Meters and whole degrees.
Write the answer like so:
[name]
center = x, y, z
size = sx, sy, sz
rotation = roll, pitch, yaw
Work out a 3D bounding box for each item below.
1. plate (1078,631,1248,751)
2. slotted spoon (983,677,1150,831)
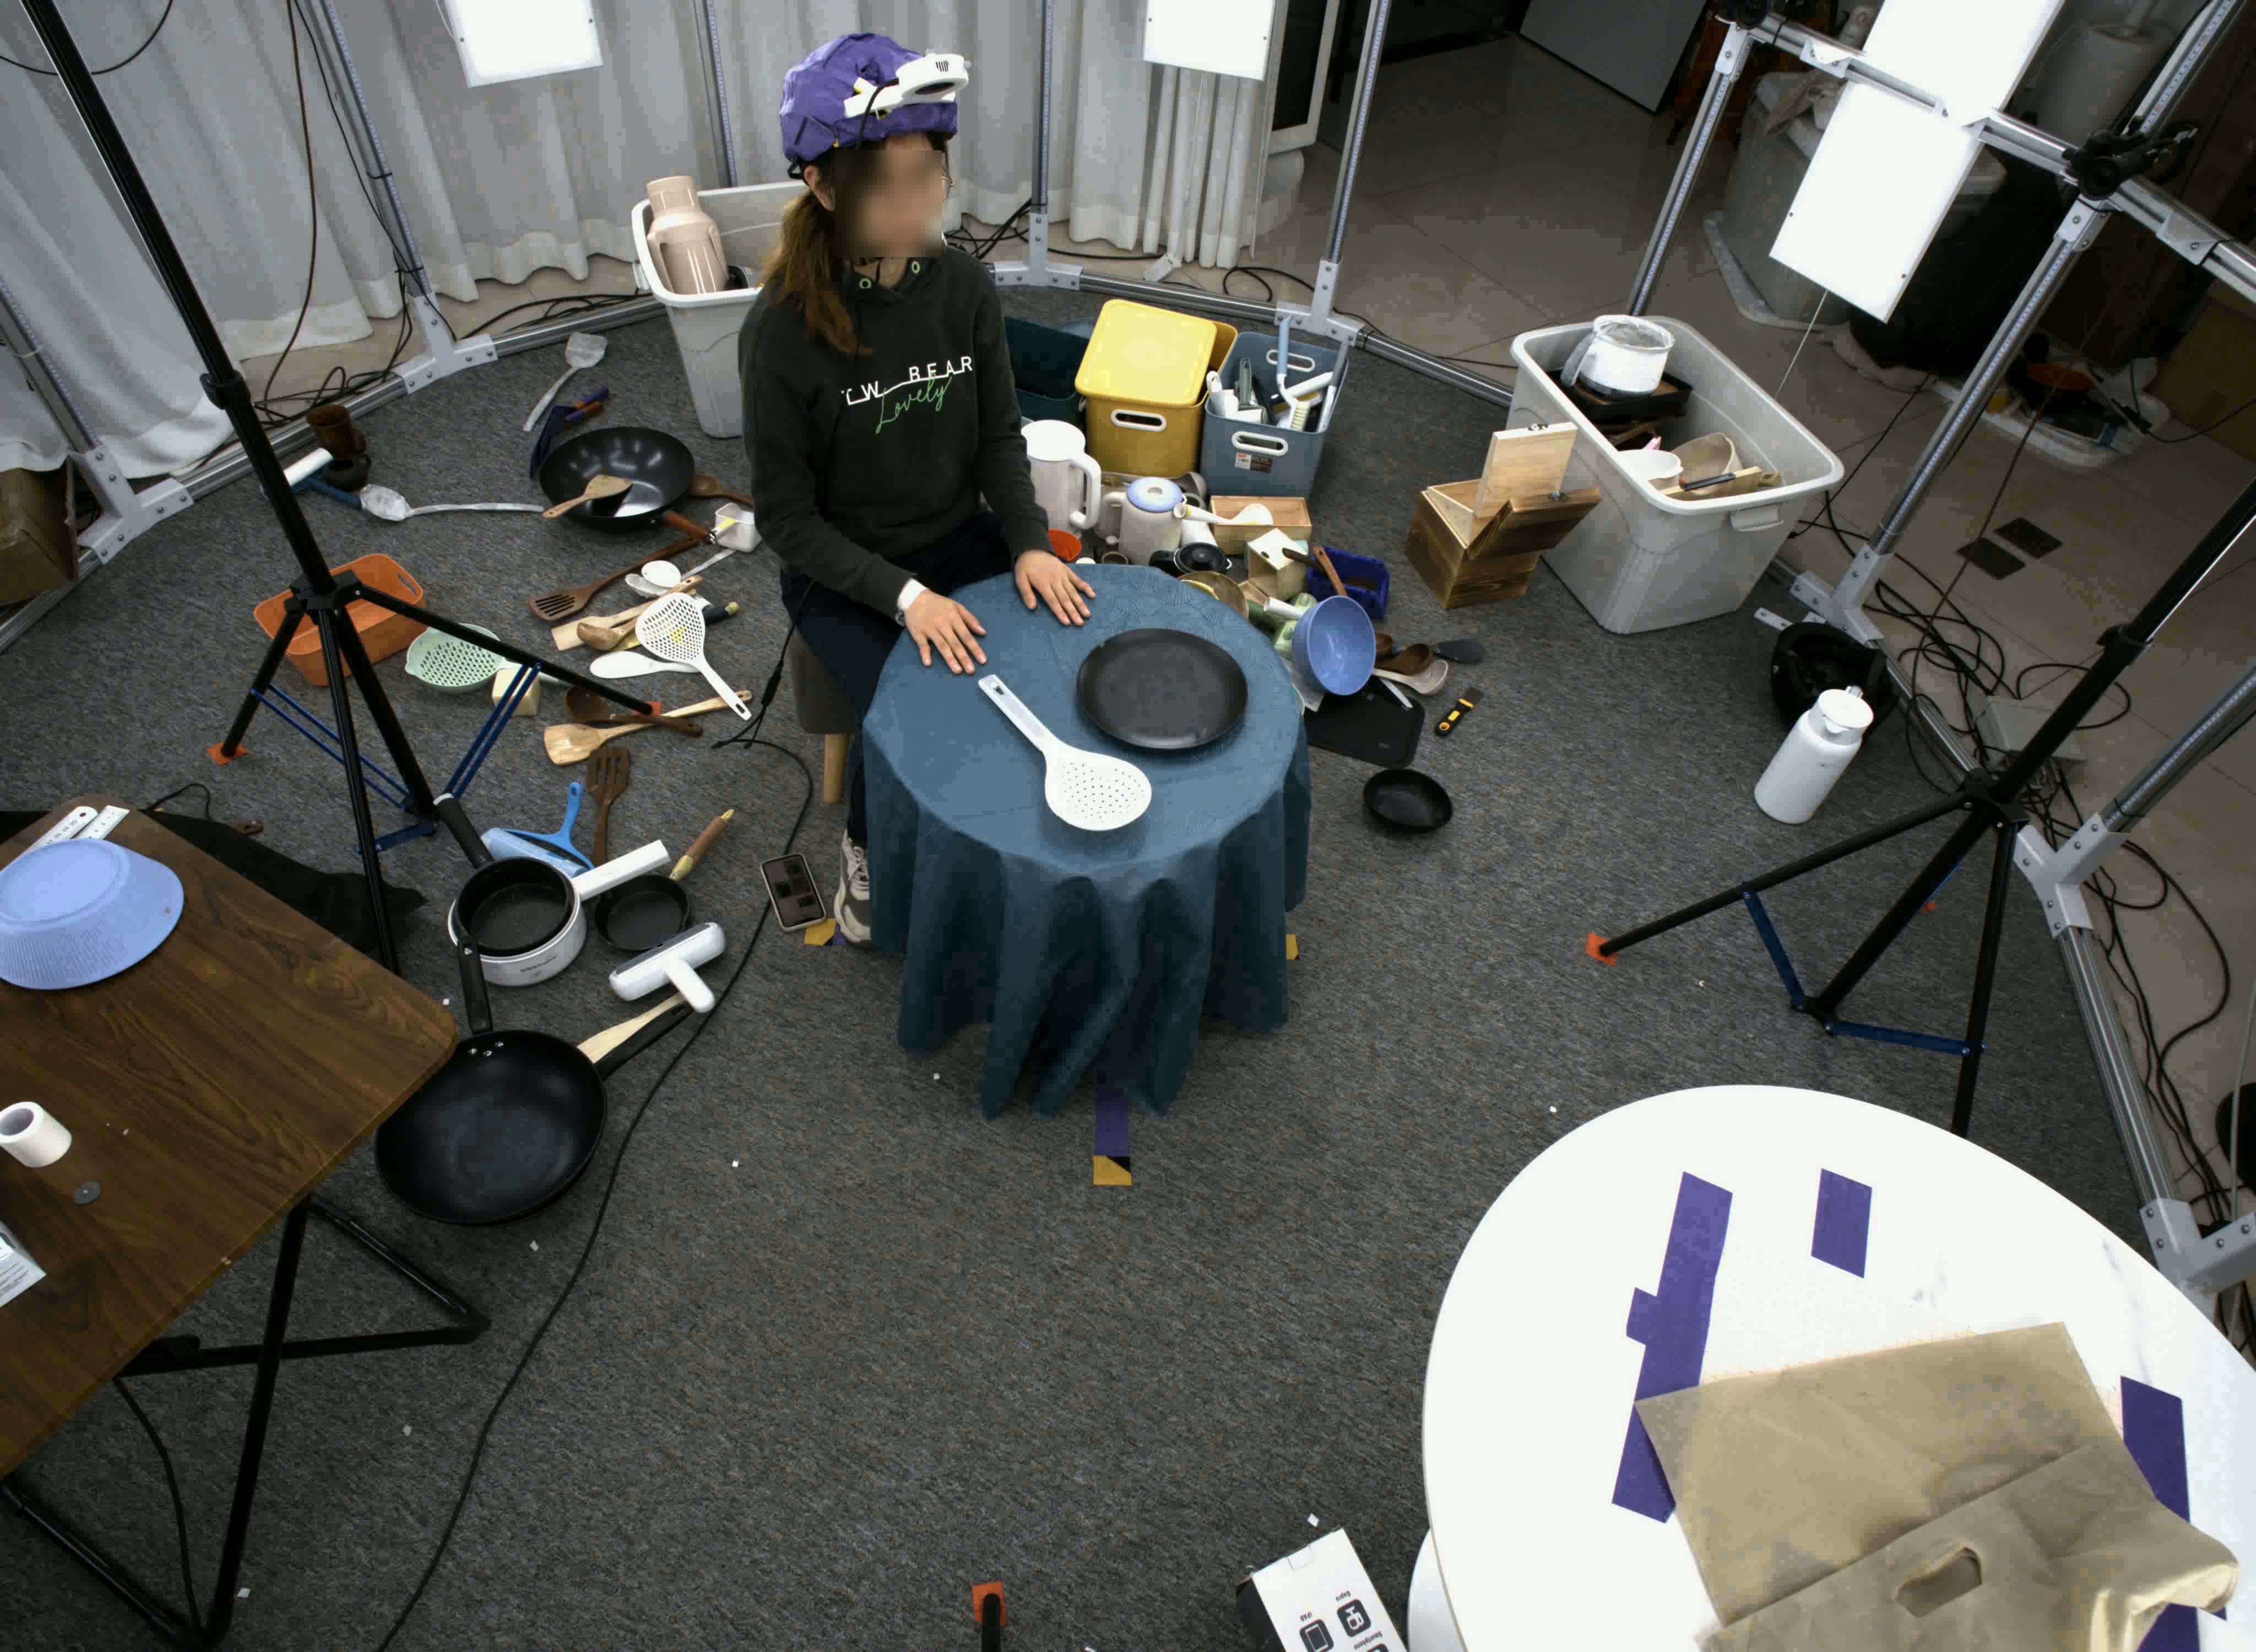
[plate]
center = 0.050, -0.192, 1.840
size = 0.244, 0.023, 0.250
rotation = 2, 49, -2
[slotted spoon]
center = -0.100, -0.103, 1.737
size = 0.136, 0.044, 0.357
rotation = -24, 53, -25
